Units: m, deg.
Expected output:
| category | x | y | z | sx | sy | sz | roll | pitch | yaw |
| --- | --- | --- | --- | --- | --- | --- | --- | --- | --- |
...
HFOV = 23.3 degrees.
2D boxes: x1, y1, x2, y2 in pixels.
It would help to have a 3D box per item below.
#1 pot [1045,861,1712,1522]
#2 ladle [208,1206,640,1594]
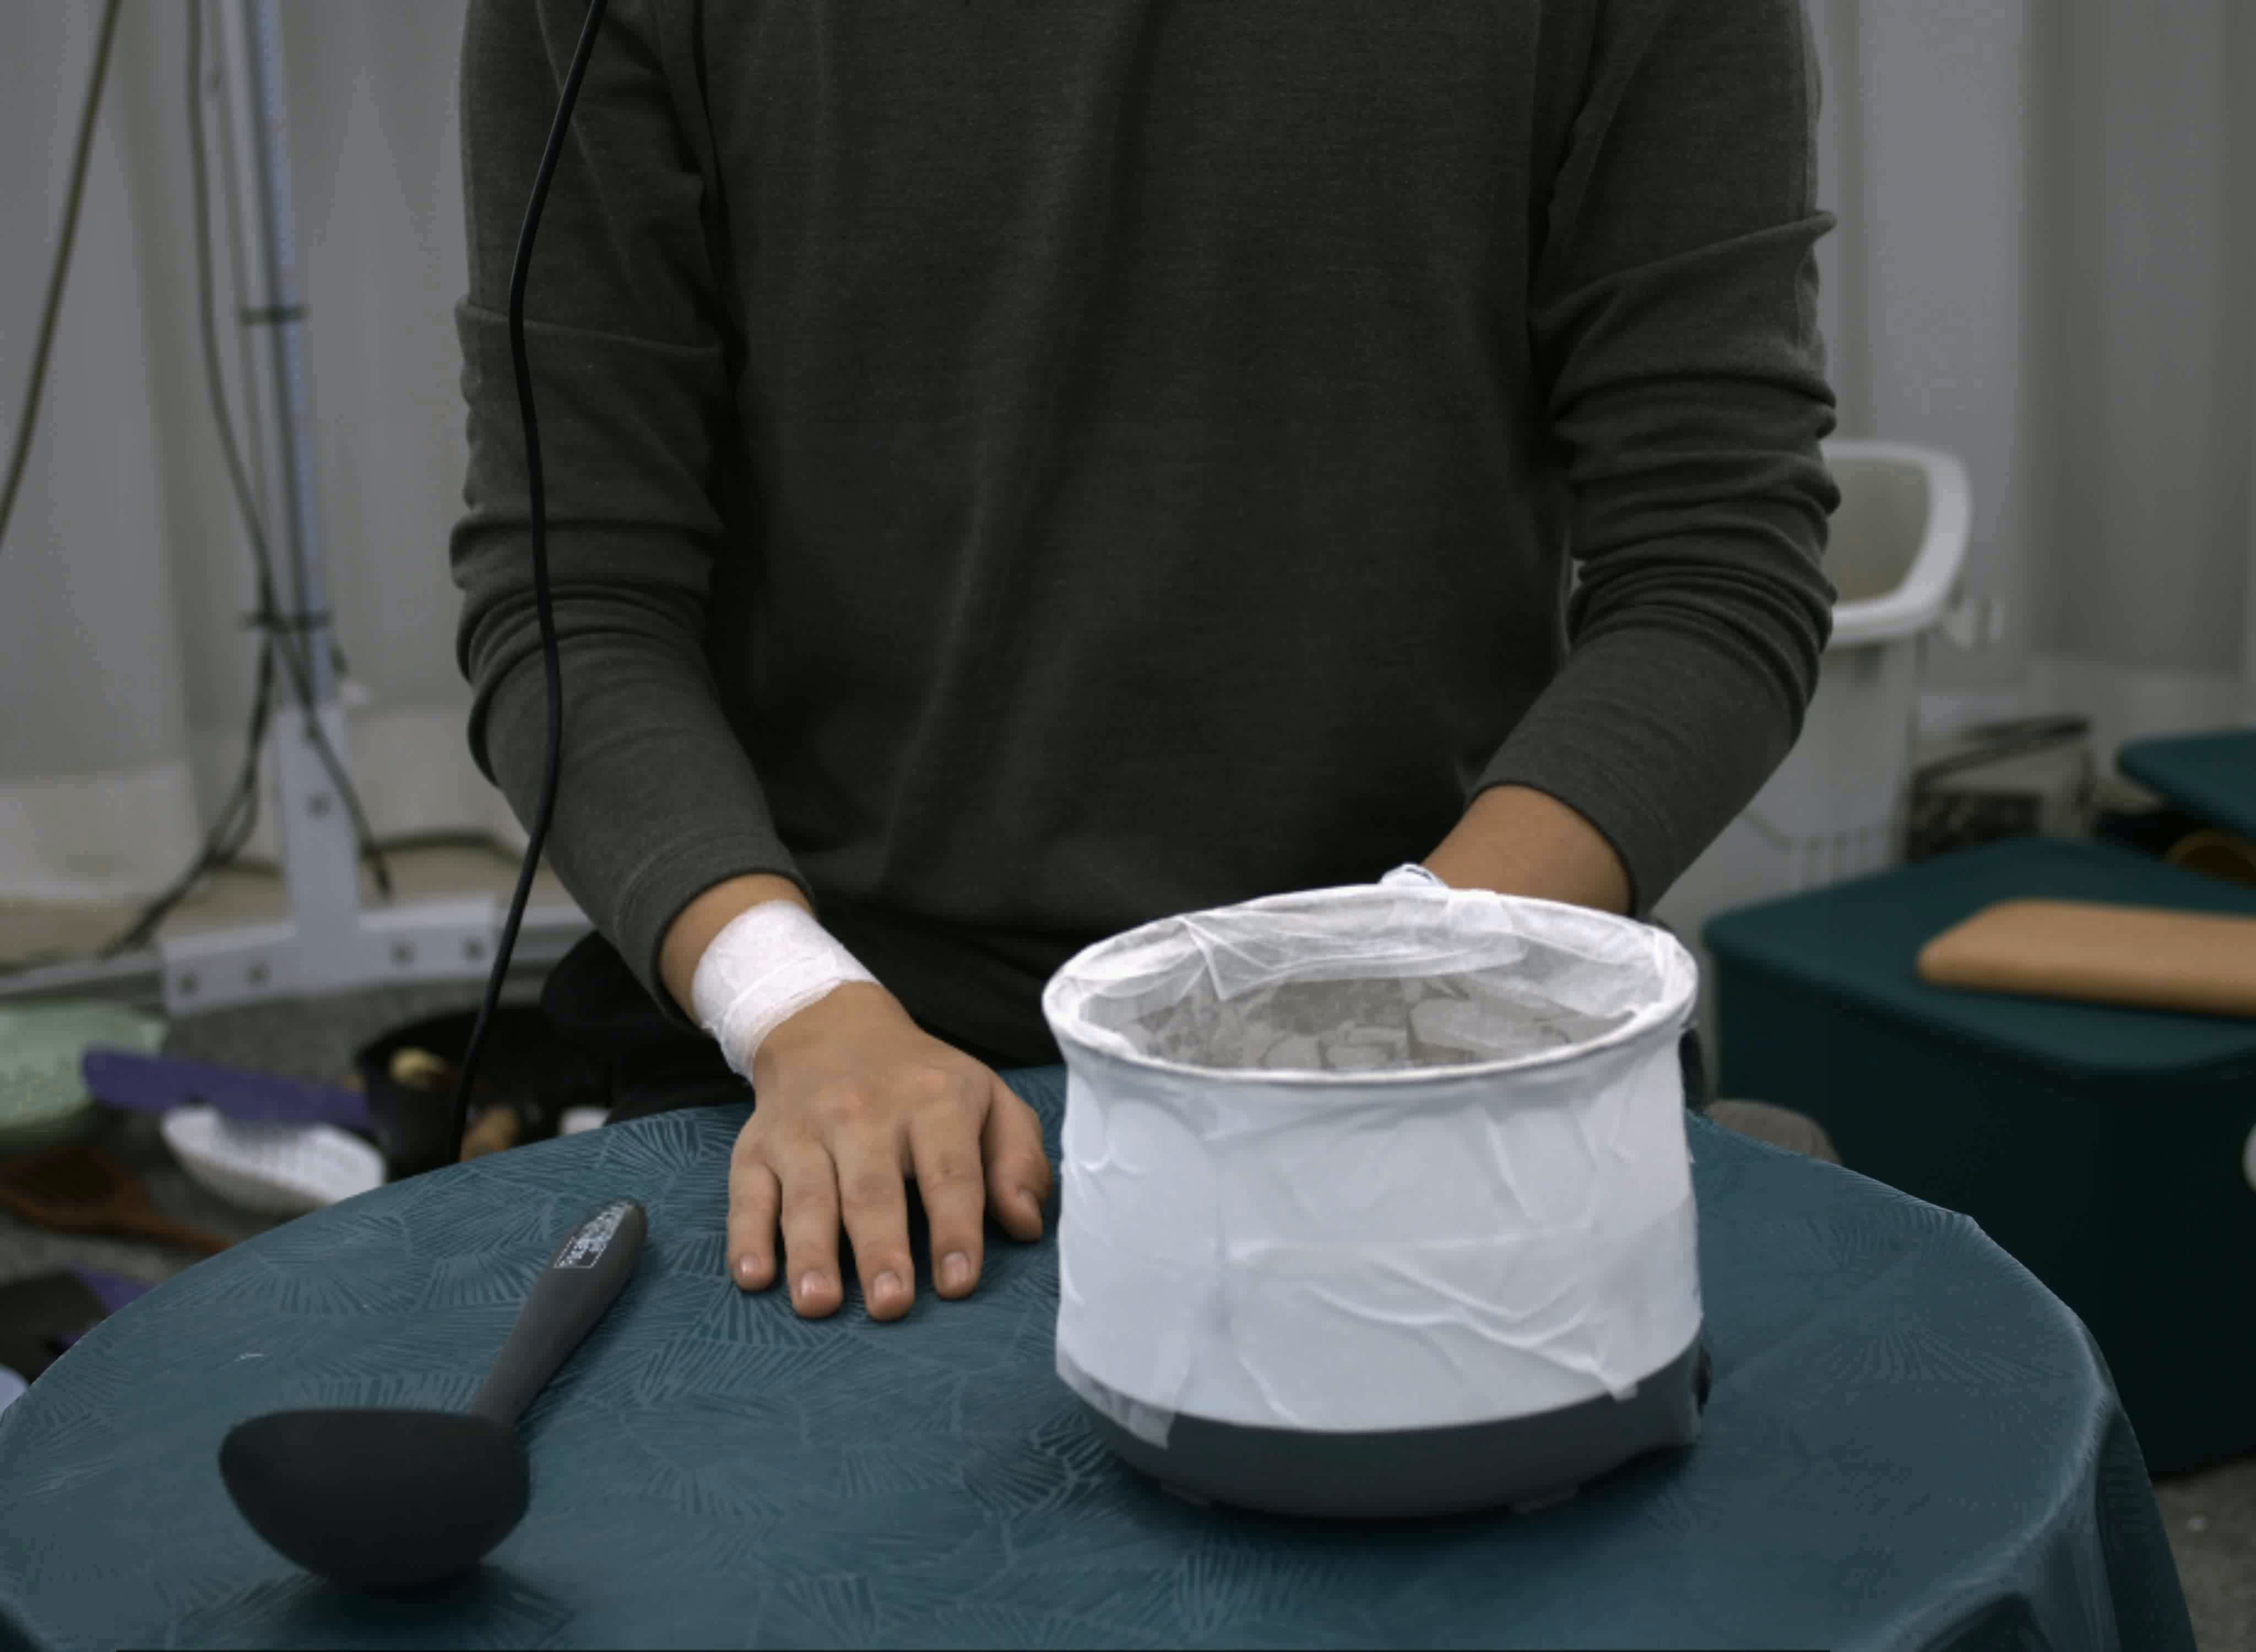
| category | x | y | z | sx | sy | sz | roll | pitch | yaw |
| --- | --- | --- | --- | --- | --- | --- | --- | --- | --- |
| pot | 0.072 | 0.095 | 1.512 | 0.178 | 0.136 | 0.235 | 0 | 15 | 9 |
| ladle | -0.177 | 0.140 | 1.534 | 0.086 | 0.064 | 0.316 | 4 | 15 | 7 |
